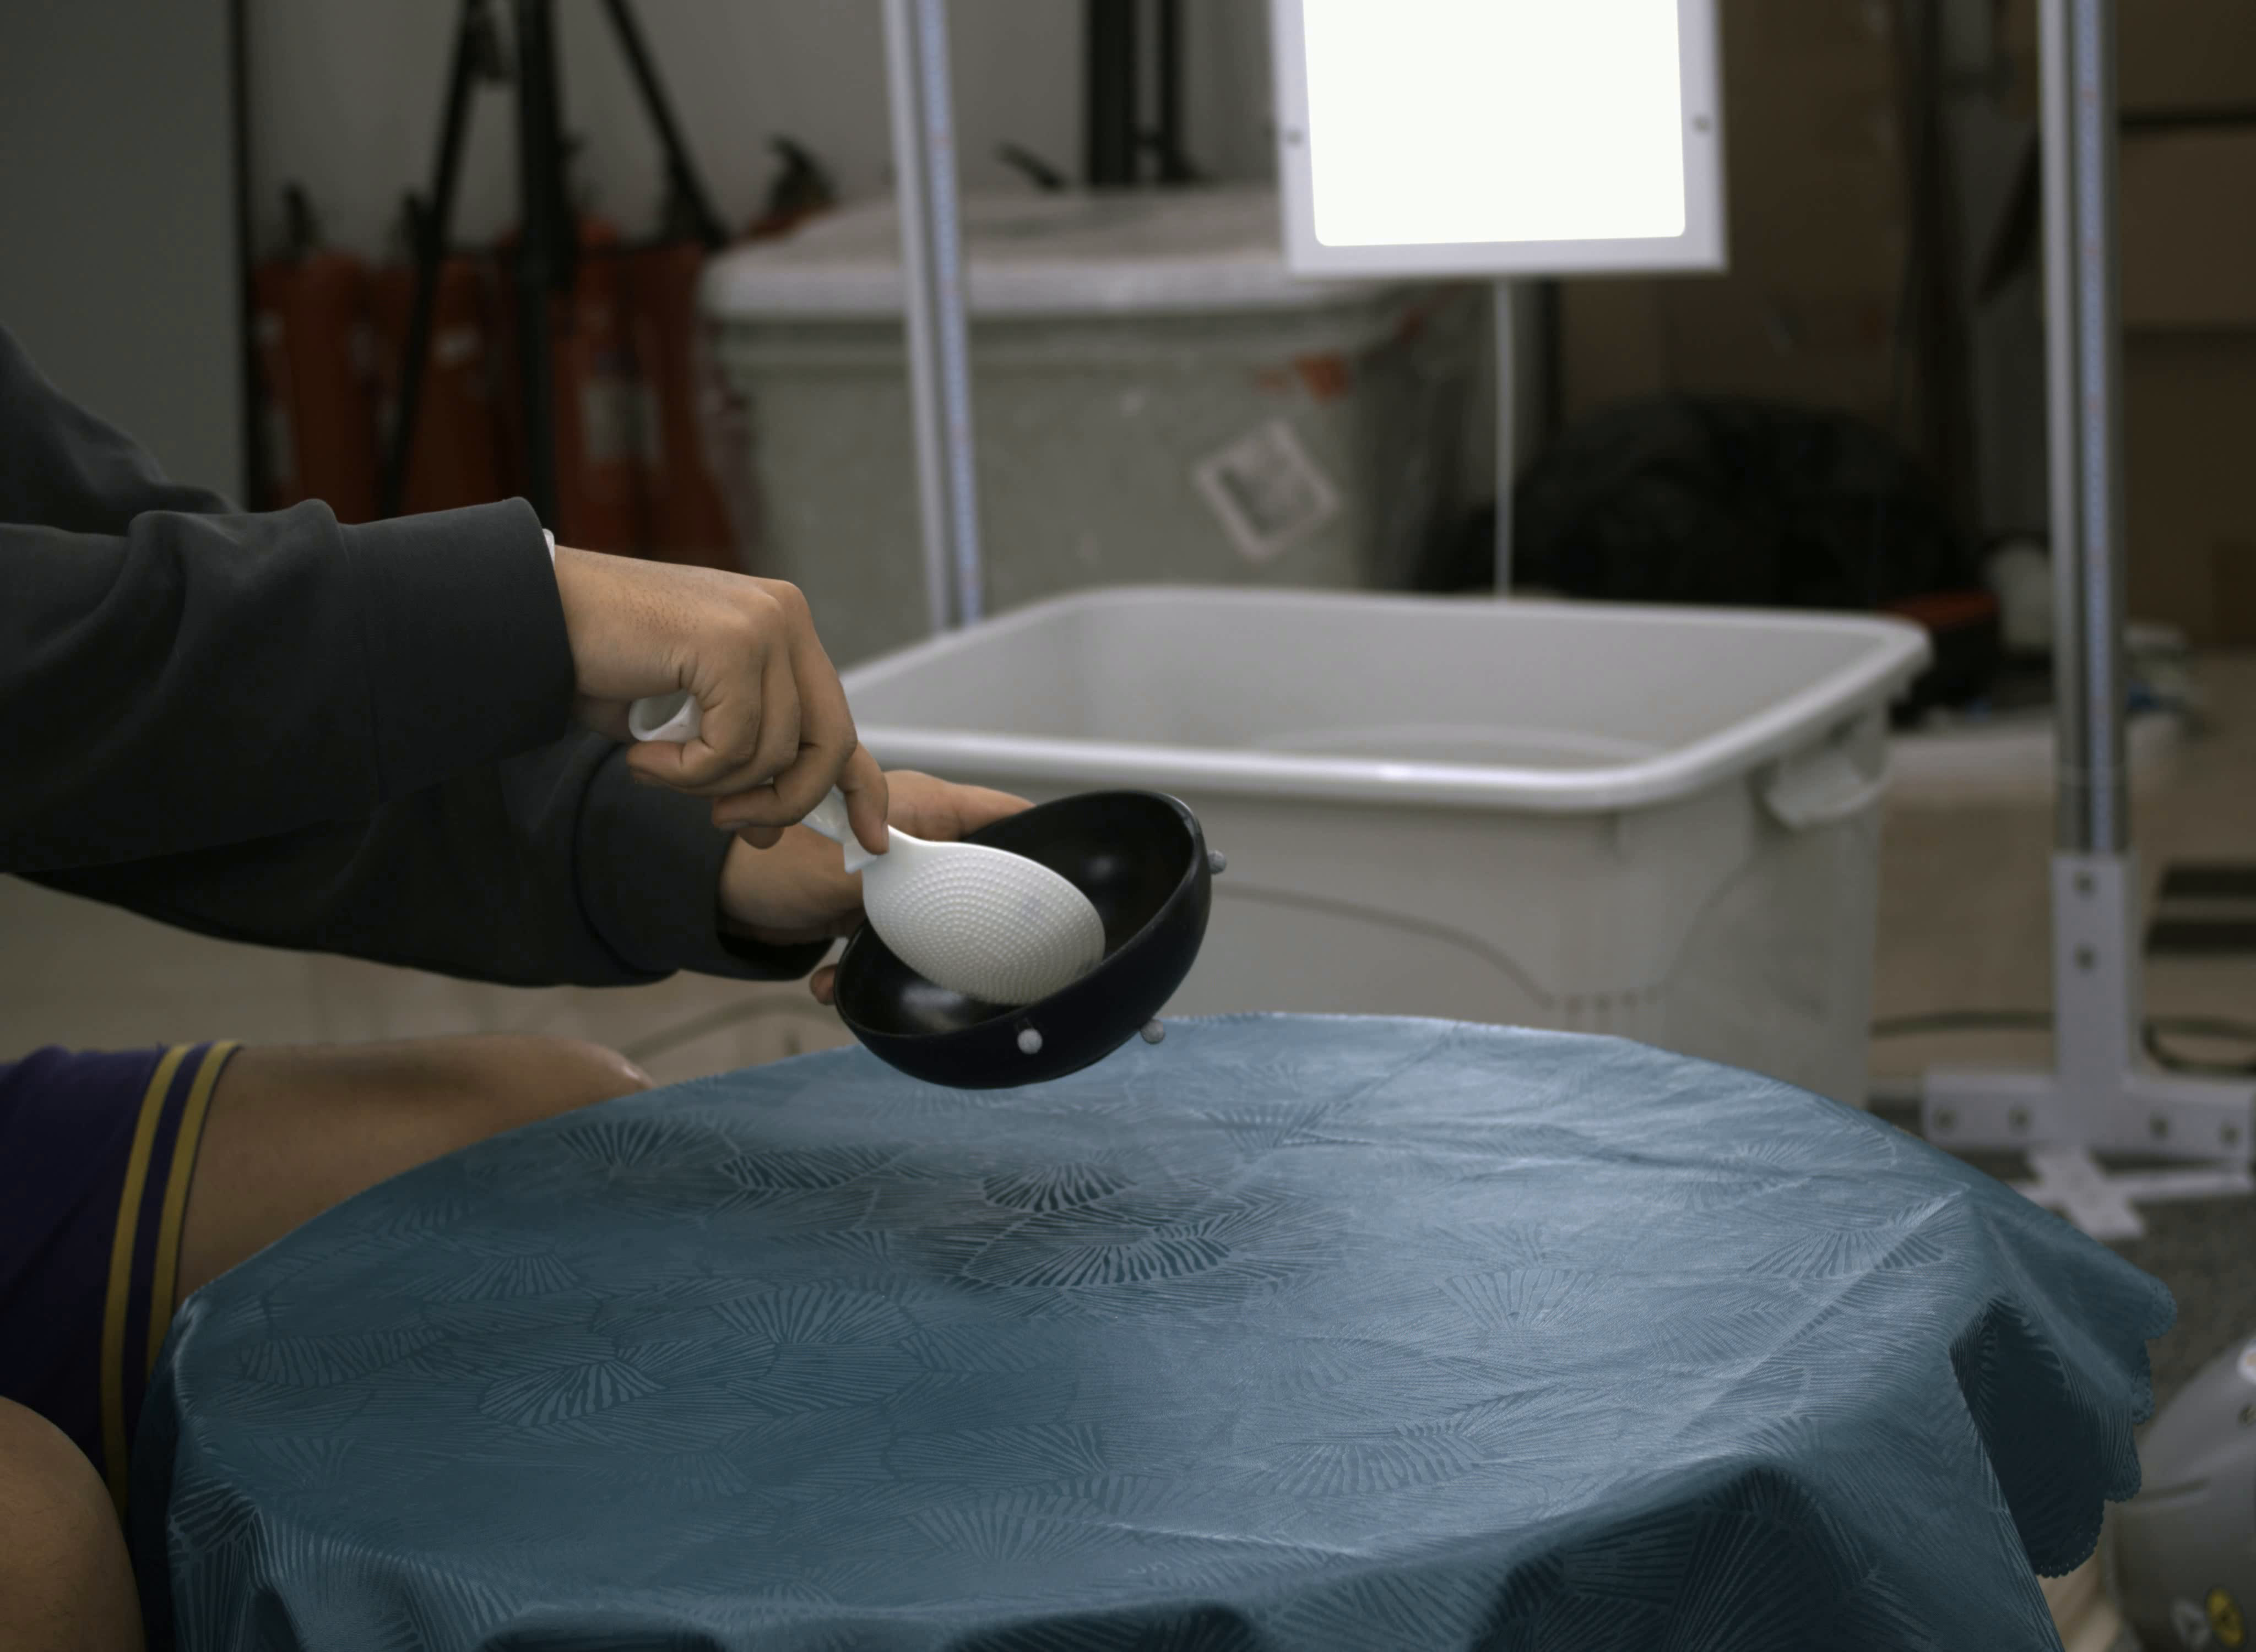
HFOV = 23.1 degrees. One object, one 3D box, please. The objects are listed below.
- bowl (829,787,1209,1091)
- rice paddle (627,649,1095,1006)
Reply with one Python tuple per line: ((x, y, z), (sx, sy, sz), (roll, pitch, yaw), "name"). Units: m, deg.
((-0.029, 0.047, 1.872), (0.141, 0.049, 0.139), (-24, 26, 11), "bowl")
((-0.086, 0.005, 1.825), (0.070, 0.202, 0.029), (-29, 42, 29), "rice paddle")
